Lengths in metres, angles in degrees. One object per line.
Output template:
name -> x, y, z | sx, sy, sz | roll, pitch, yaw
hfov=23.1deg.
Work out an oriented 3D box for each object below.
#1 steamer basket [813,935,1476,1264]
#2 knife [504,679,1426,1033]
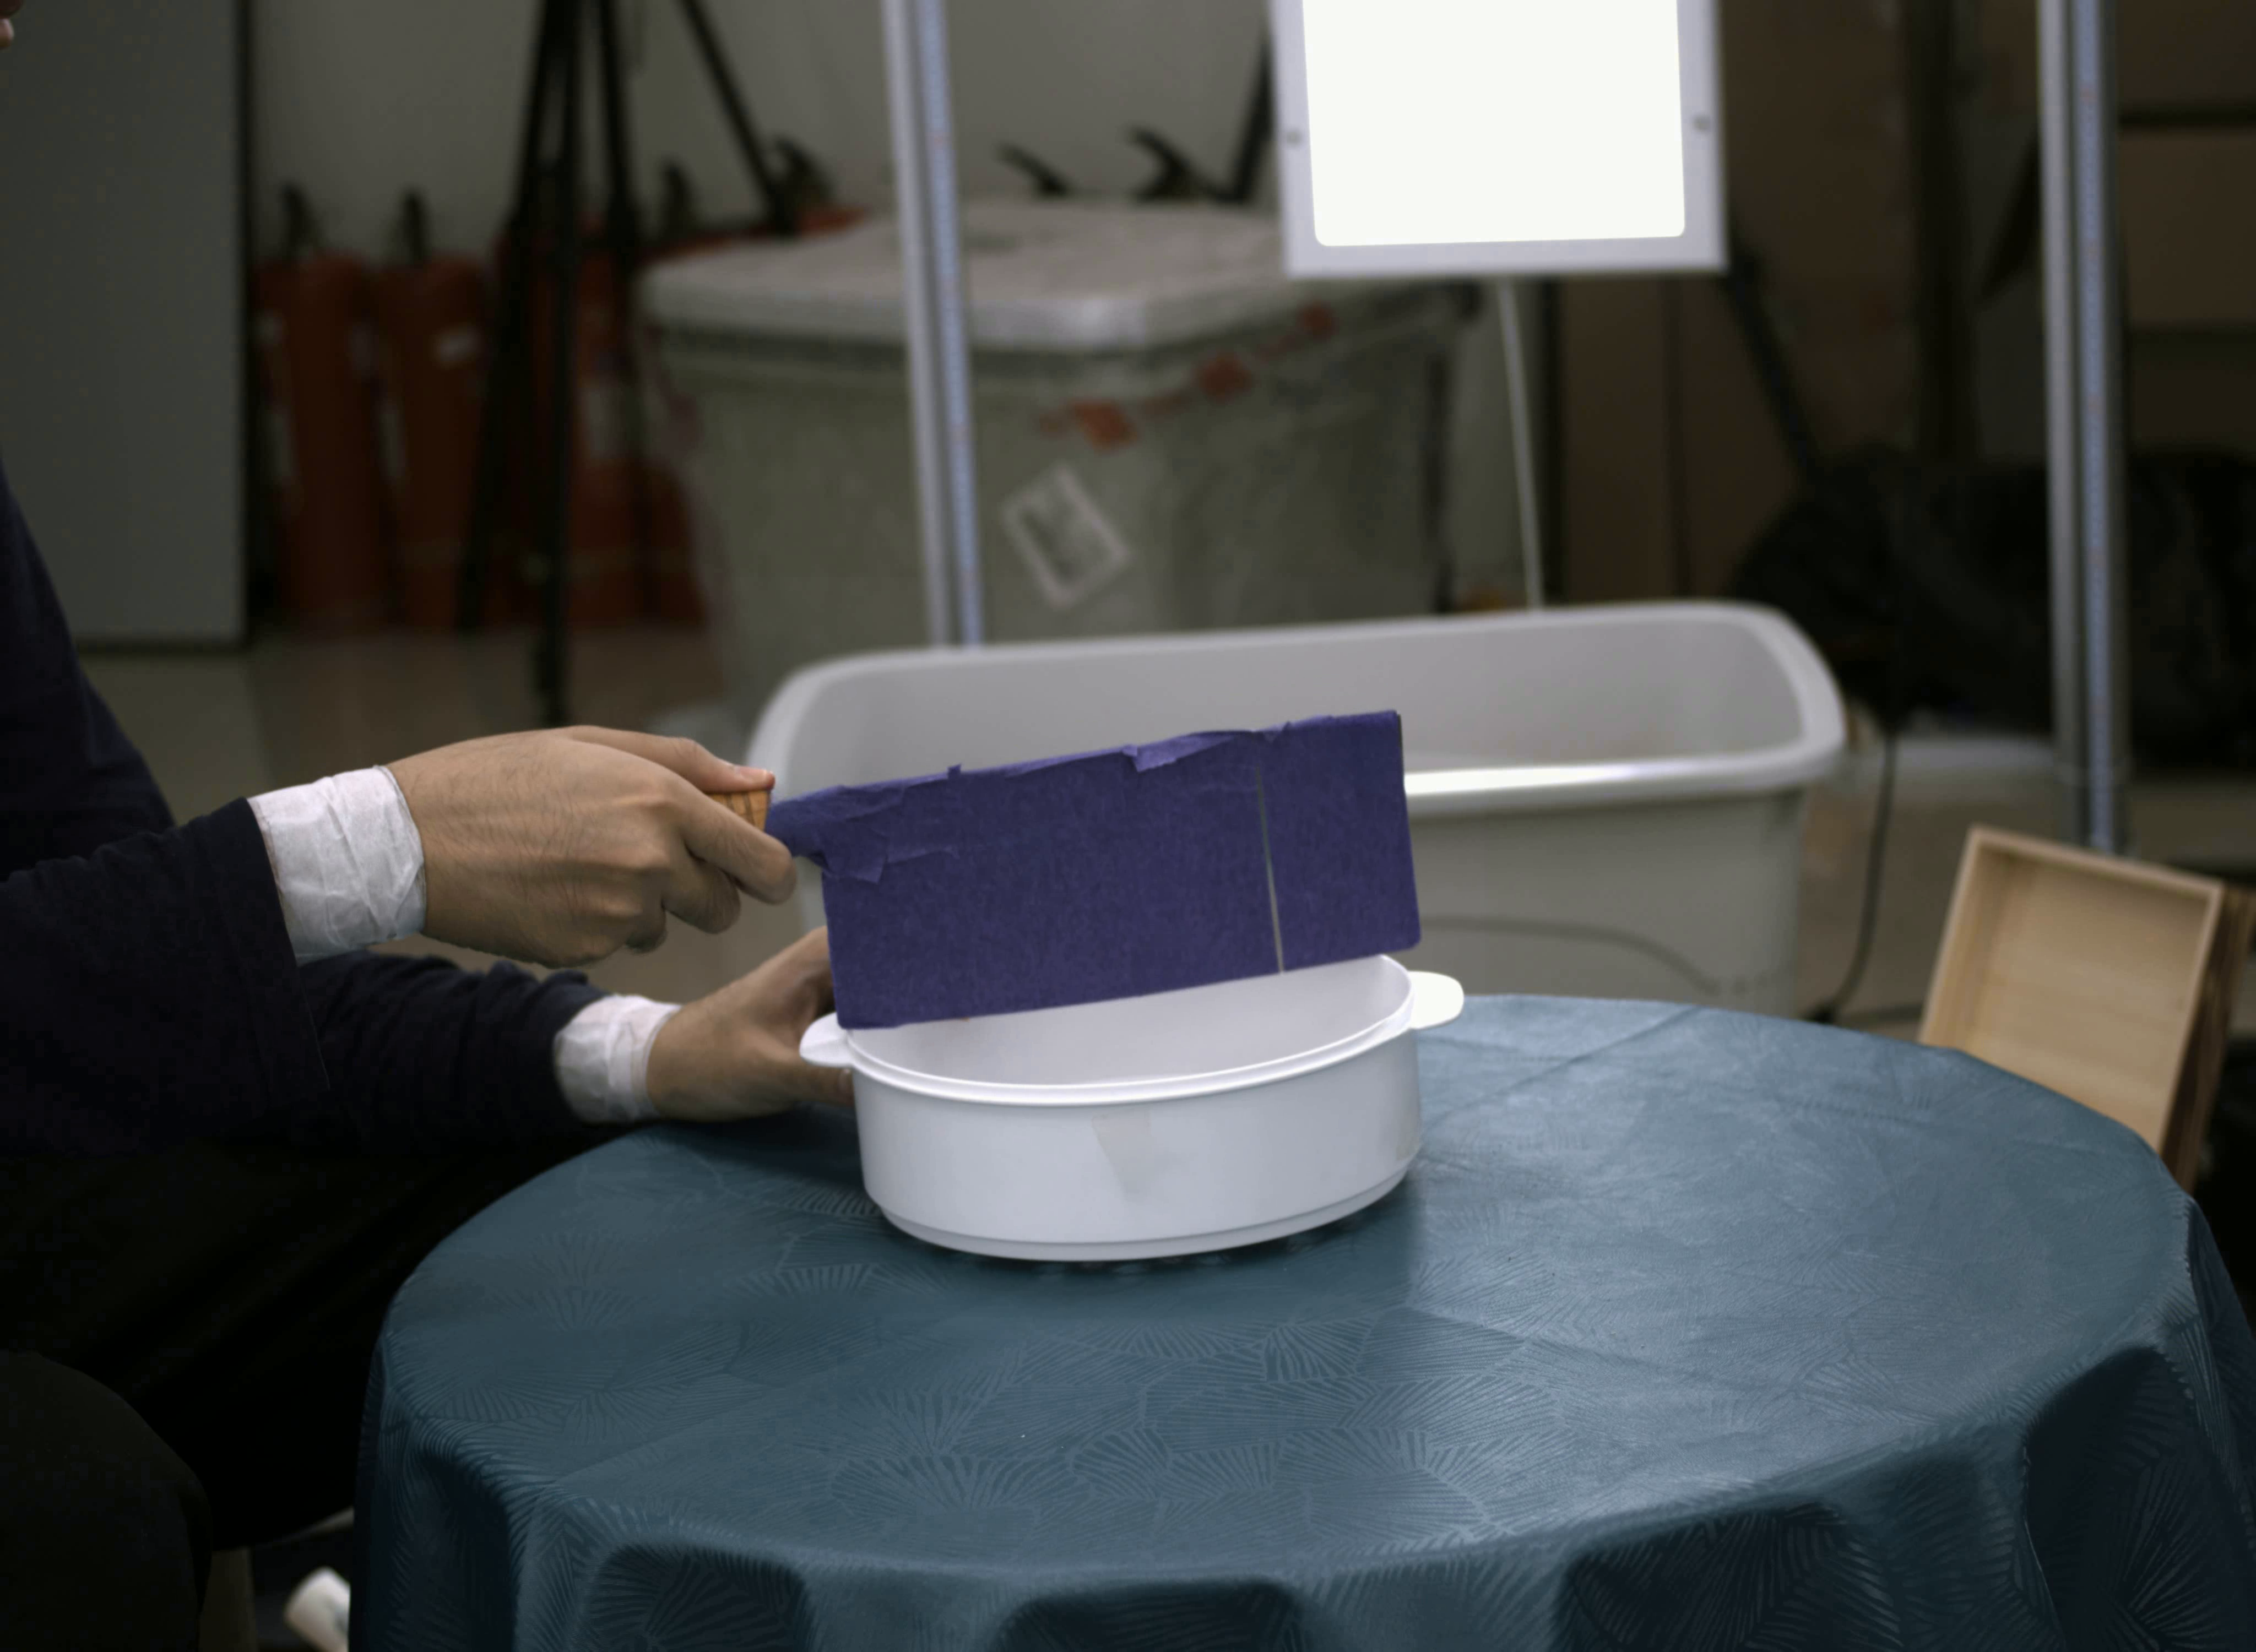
steamer basket -> 0.009, 0.094, 1.895 | 0.231, 0.069, 0.200 | -7, 12, 7
knife -> -0.052, 0.022, 1.881 | 0.313, 0.104, 0.032 | -8, 18, -3
